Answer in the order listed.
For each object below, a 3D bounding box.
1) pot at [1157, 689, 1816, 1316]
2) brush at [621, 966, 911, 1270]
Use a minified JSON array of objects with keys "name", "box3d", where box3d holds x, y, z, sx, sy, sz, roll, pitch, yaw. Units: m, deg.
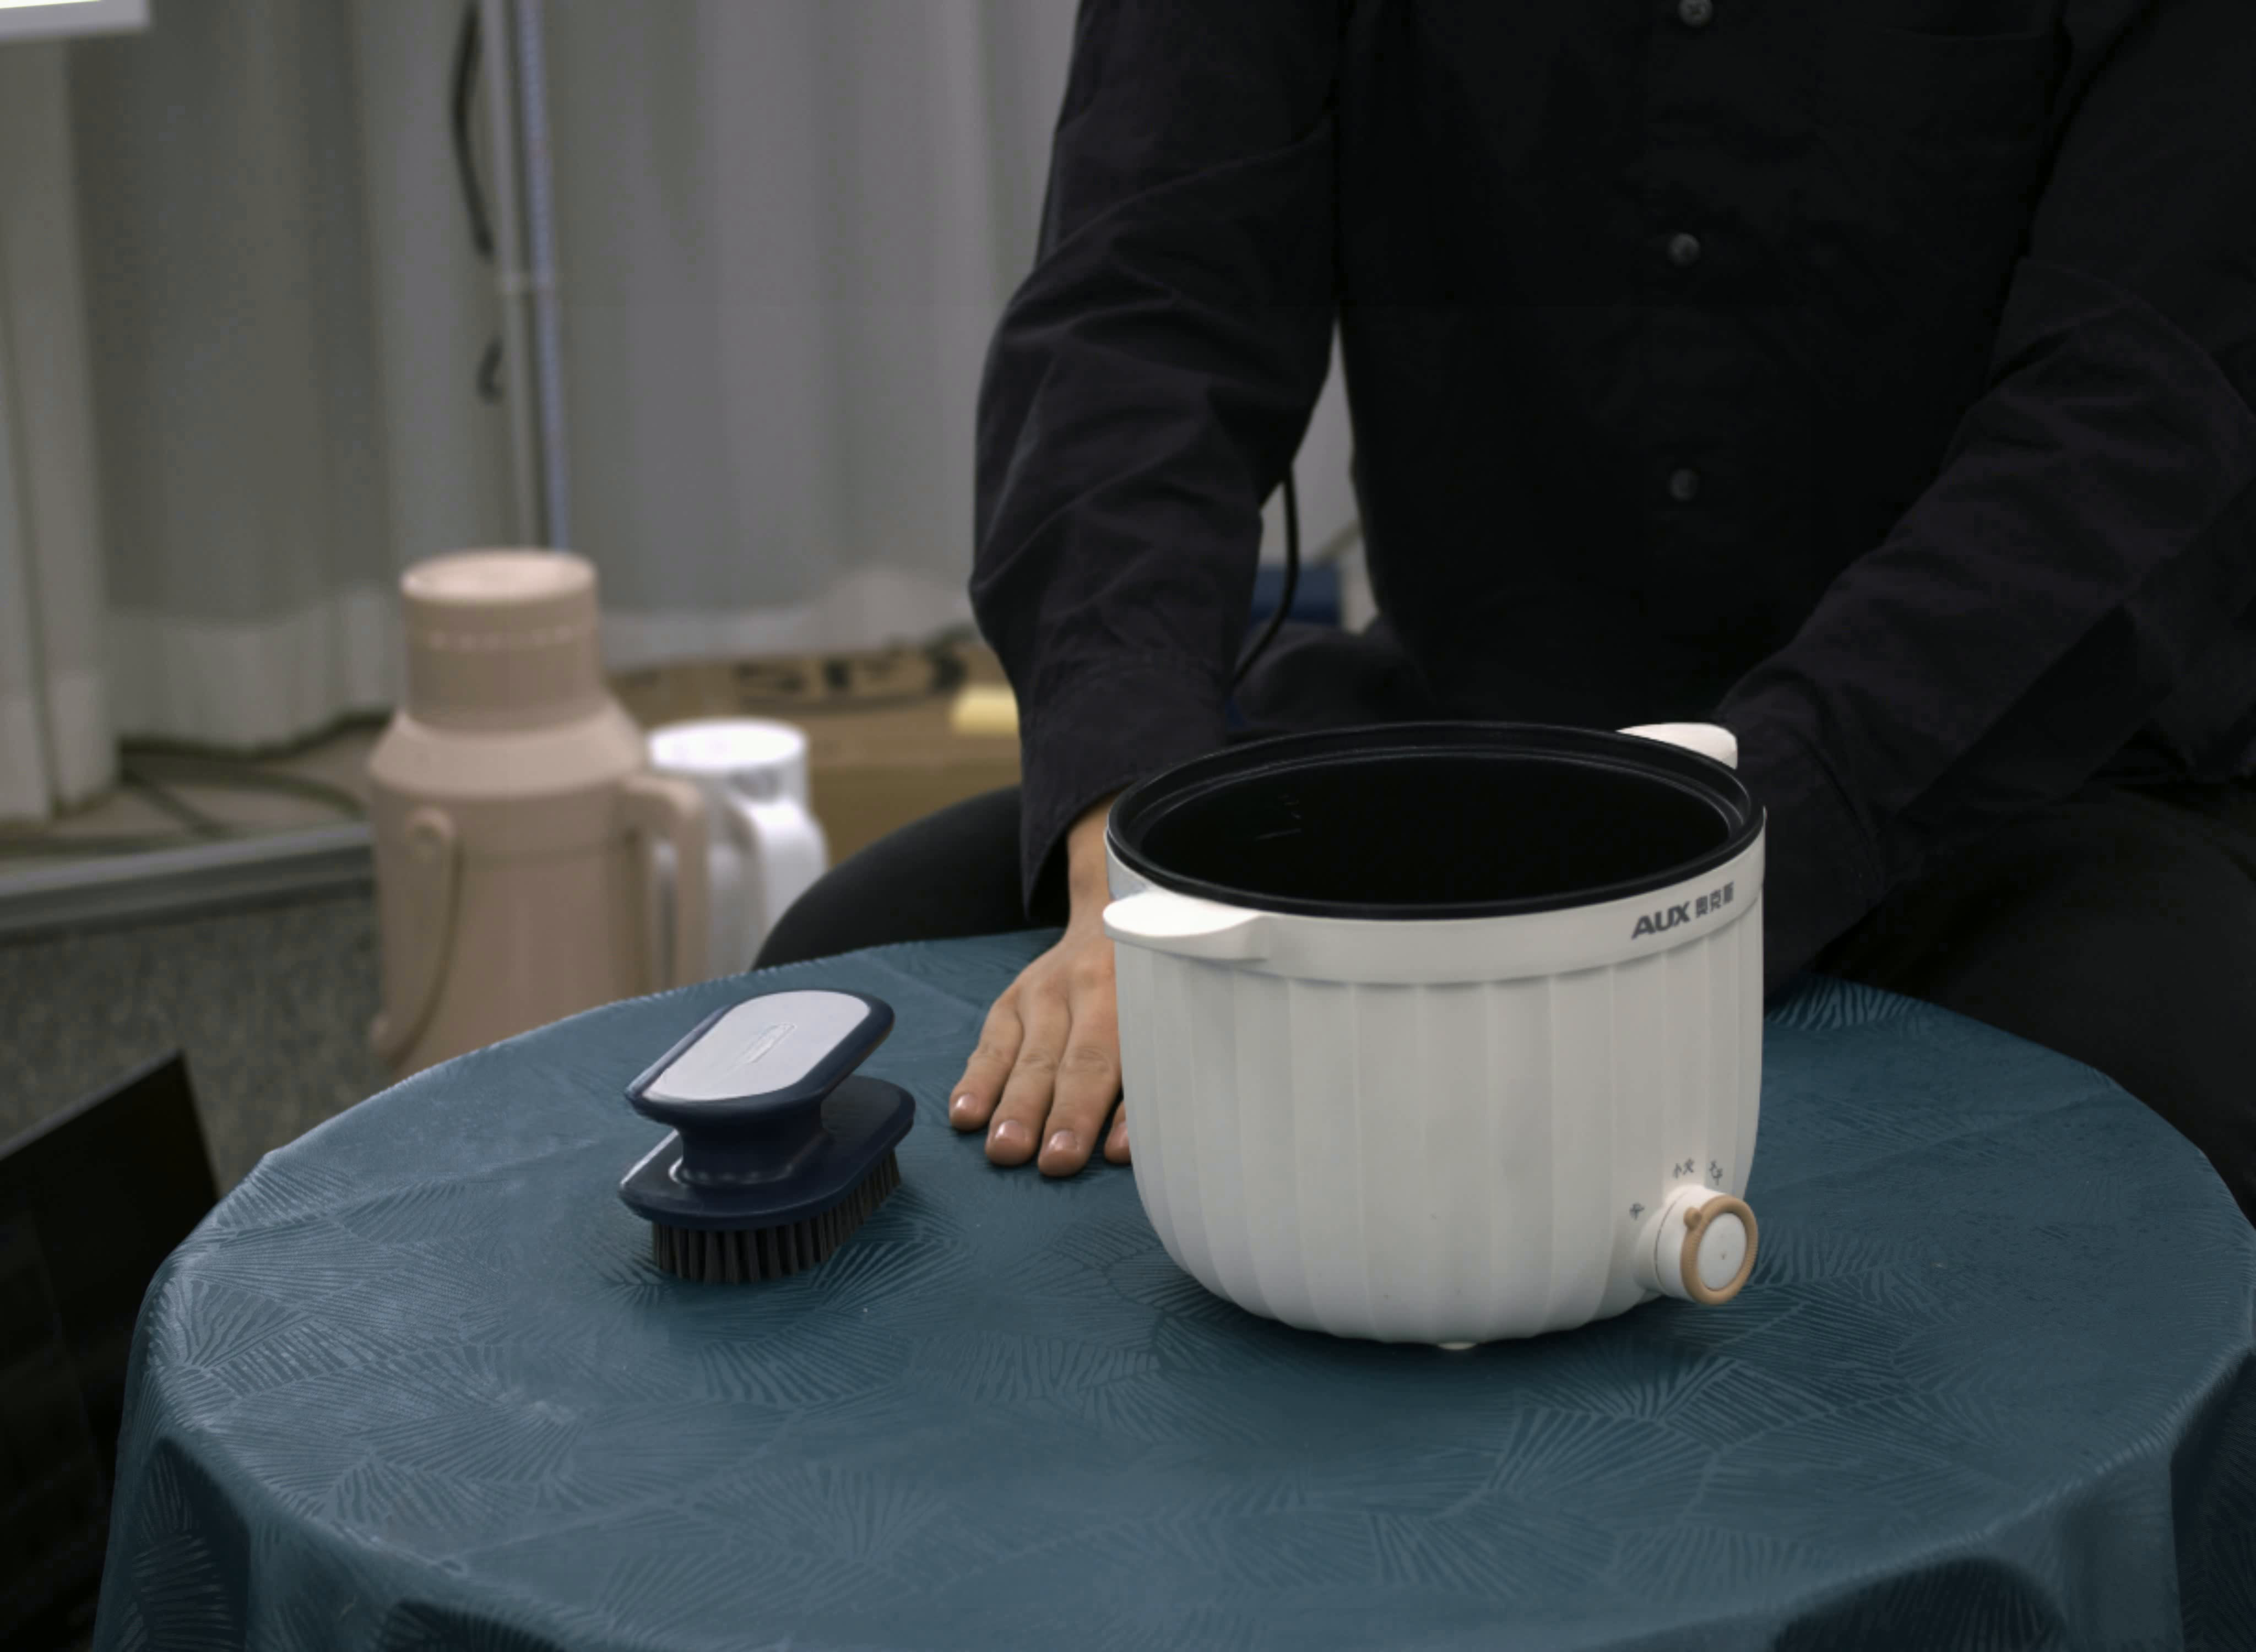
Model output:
[{"name":"pot","box3d":[0.106,0.051,1.473,0.235,0.142,0.195,-19,20,-41]},{"name":"brush","box3d":[-0.106,0.087,1.566,0.069,0.061,0.120,0,20,22]}]
